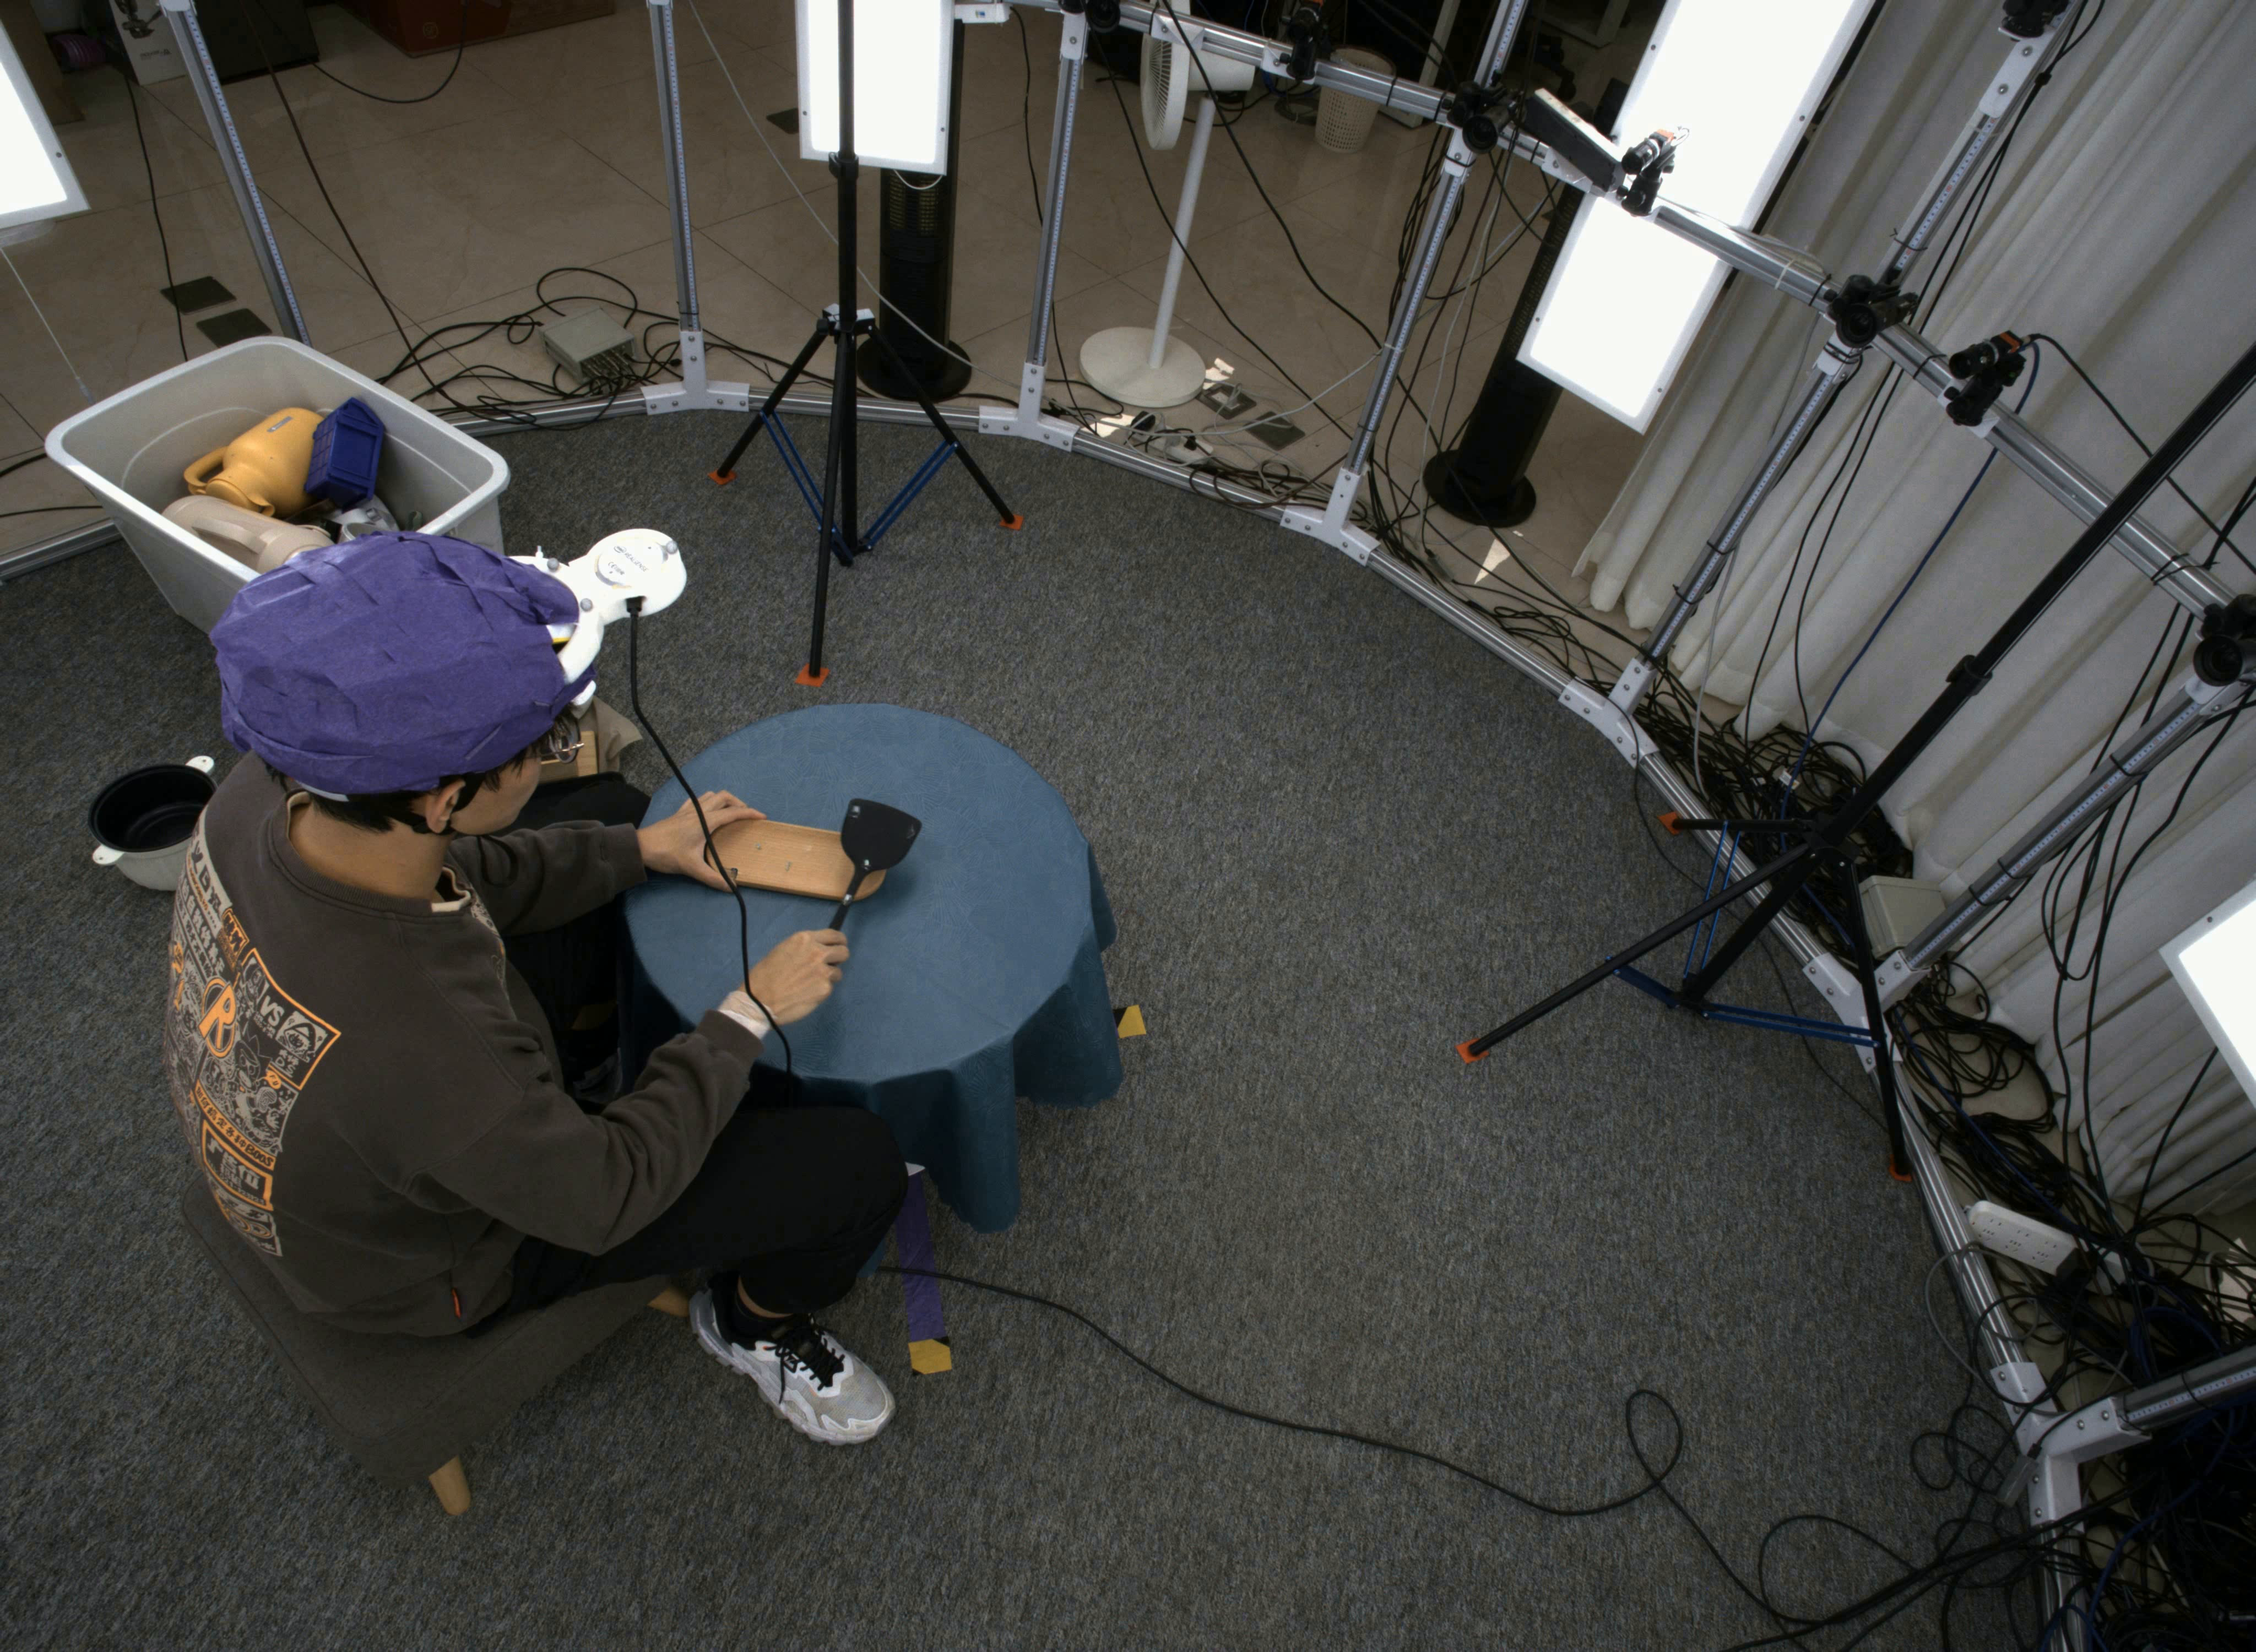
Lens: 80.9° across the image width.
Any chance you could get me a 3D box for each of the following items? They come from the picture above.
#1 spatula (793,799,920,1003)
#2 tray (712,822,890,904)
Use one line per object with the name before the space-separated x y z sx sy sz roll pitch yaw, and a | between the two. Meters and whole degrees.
spatula | -0.343 0.087 1.576 0.099 0.041 0.321 20 39 -5
tray | -0.426 0.047 1.693 0.230 0.021 0.100 10 54 -8
